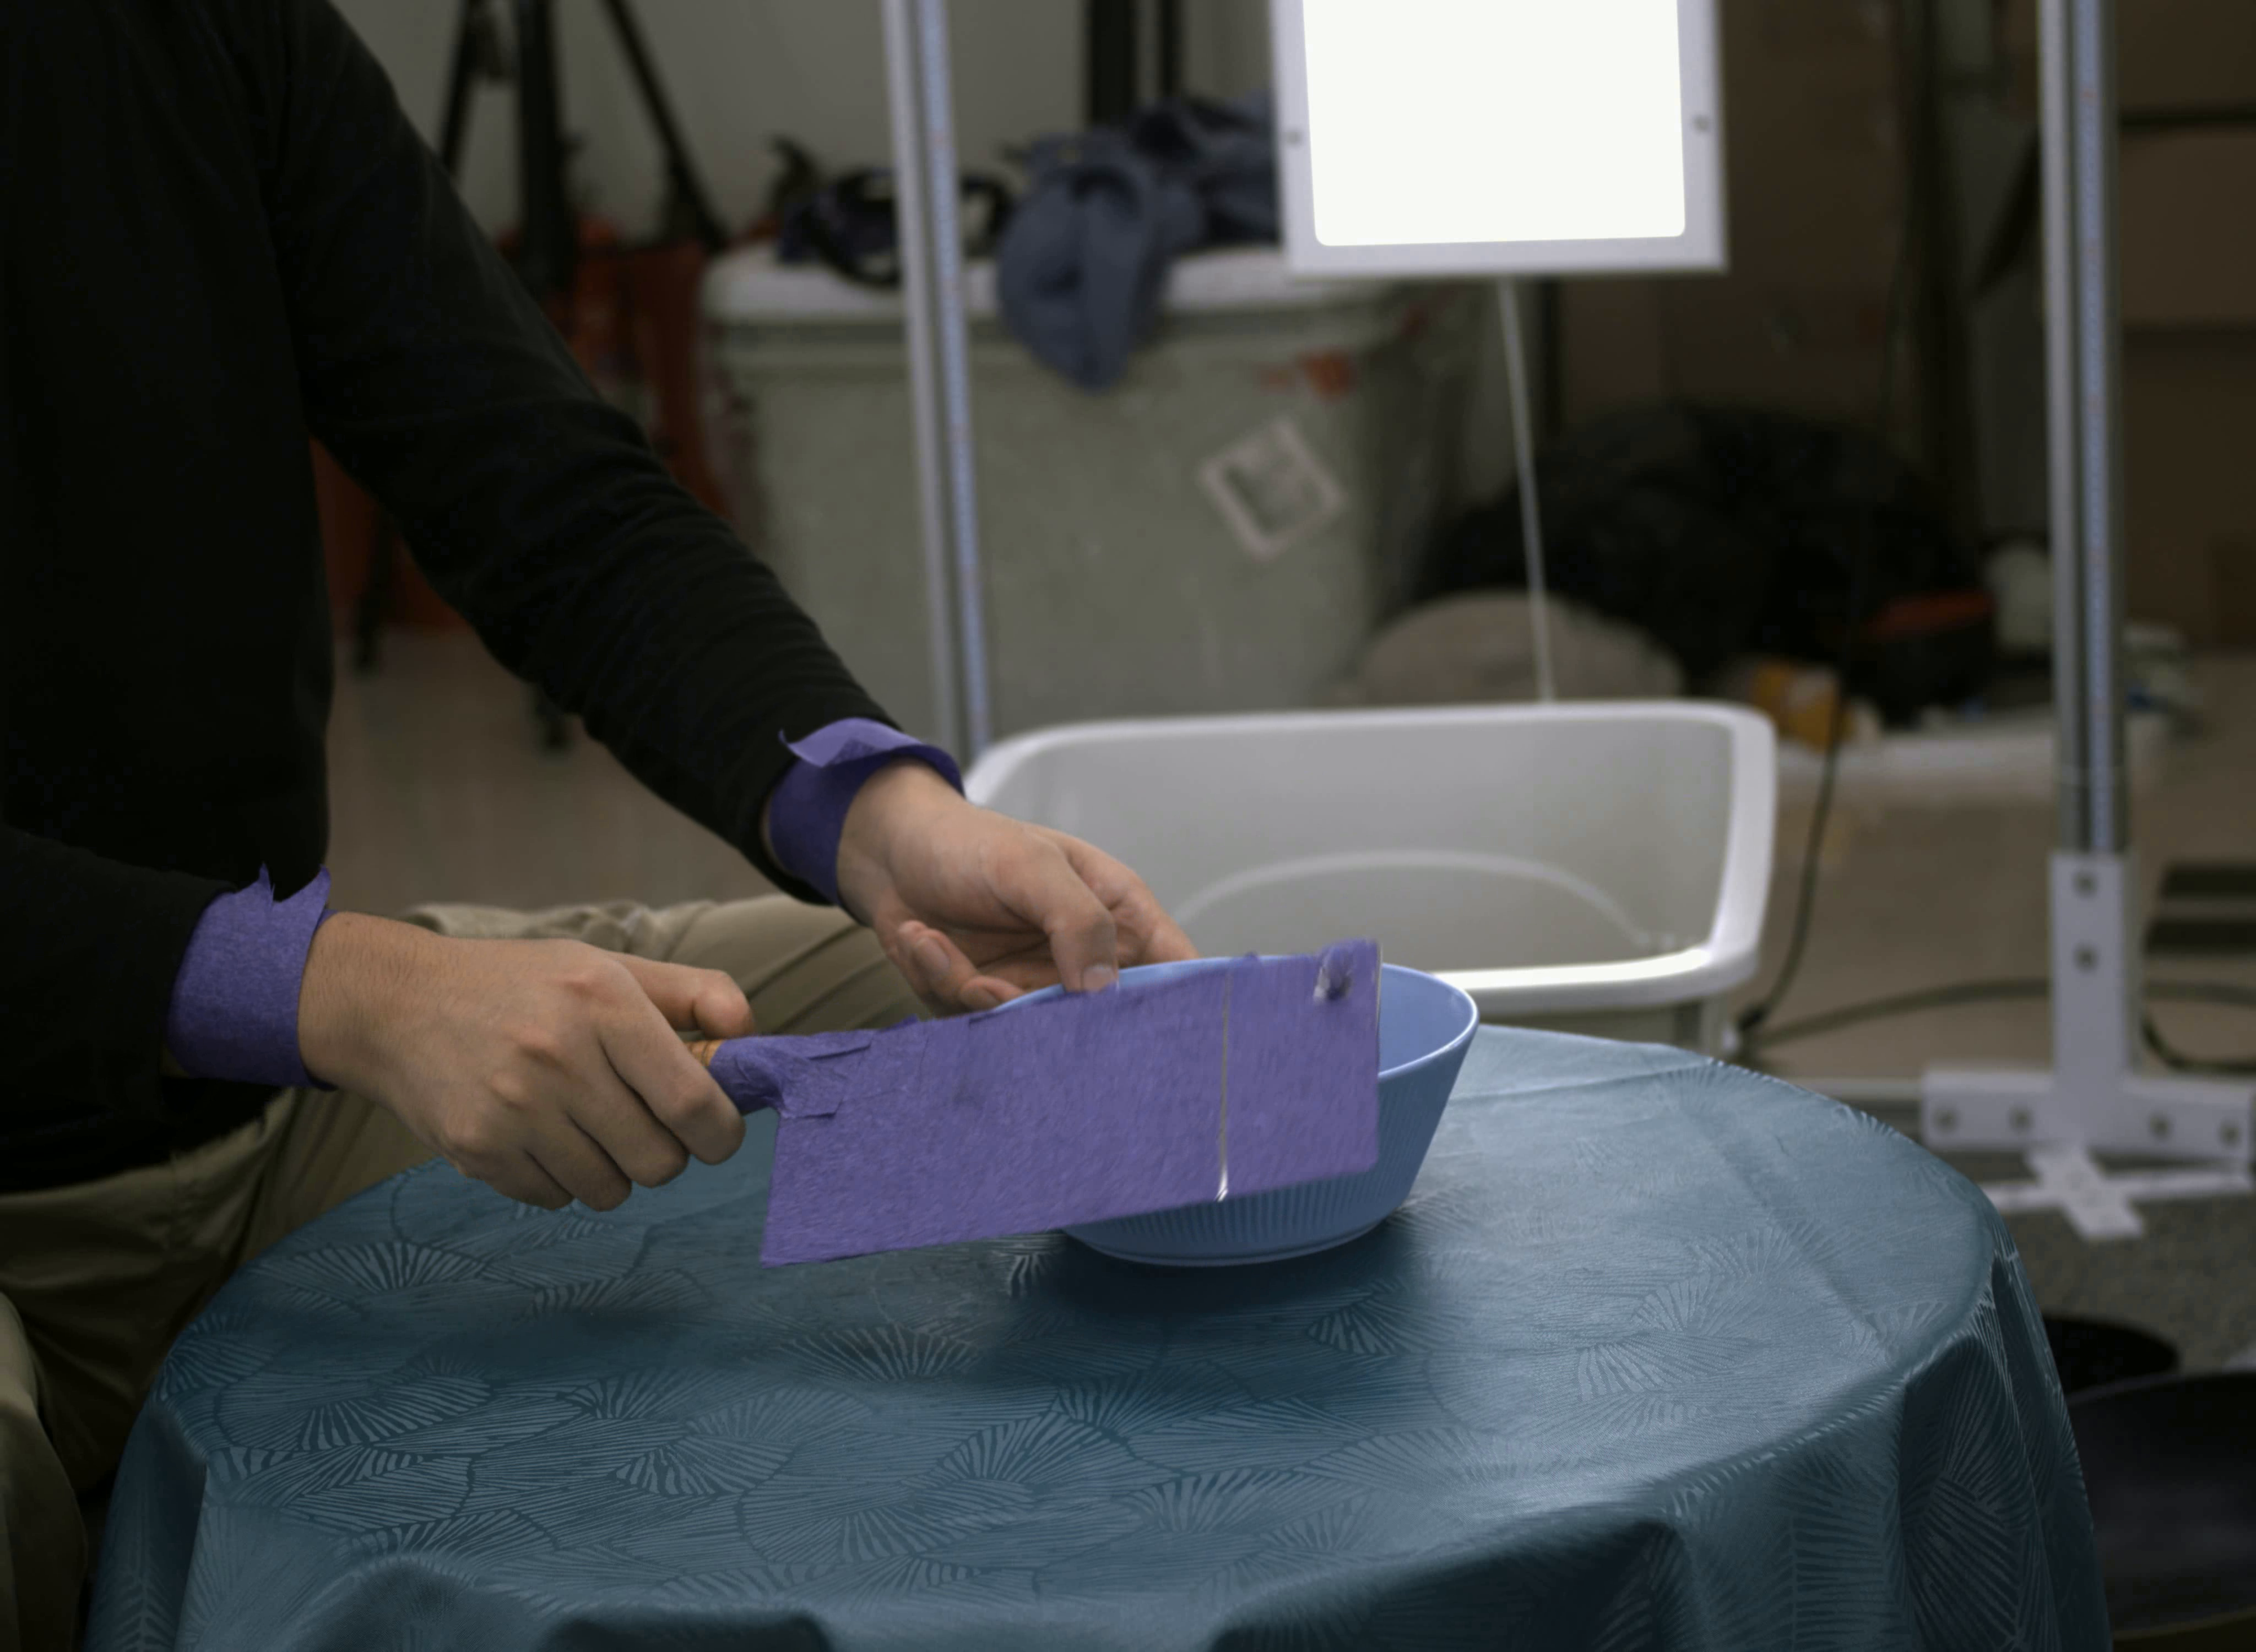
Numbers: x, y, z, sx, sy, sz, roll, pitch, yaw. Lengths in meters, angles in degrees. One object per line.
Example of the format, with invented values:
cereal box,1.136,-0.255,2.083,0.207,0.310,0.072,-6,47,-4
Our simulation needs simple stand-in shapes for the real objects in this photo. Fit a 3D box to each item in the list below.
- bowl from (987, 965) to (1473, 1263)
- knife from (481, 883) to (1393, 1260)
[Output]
bowl,0.032,0.098,1.852,0.175,0.070,0.176,-5,13,0
knife,-0.065,0.090,1.758,0.319,0.032,0.103,-14,48,21
